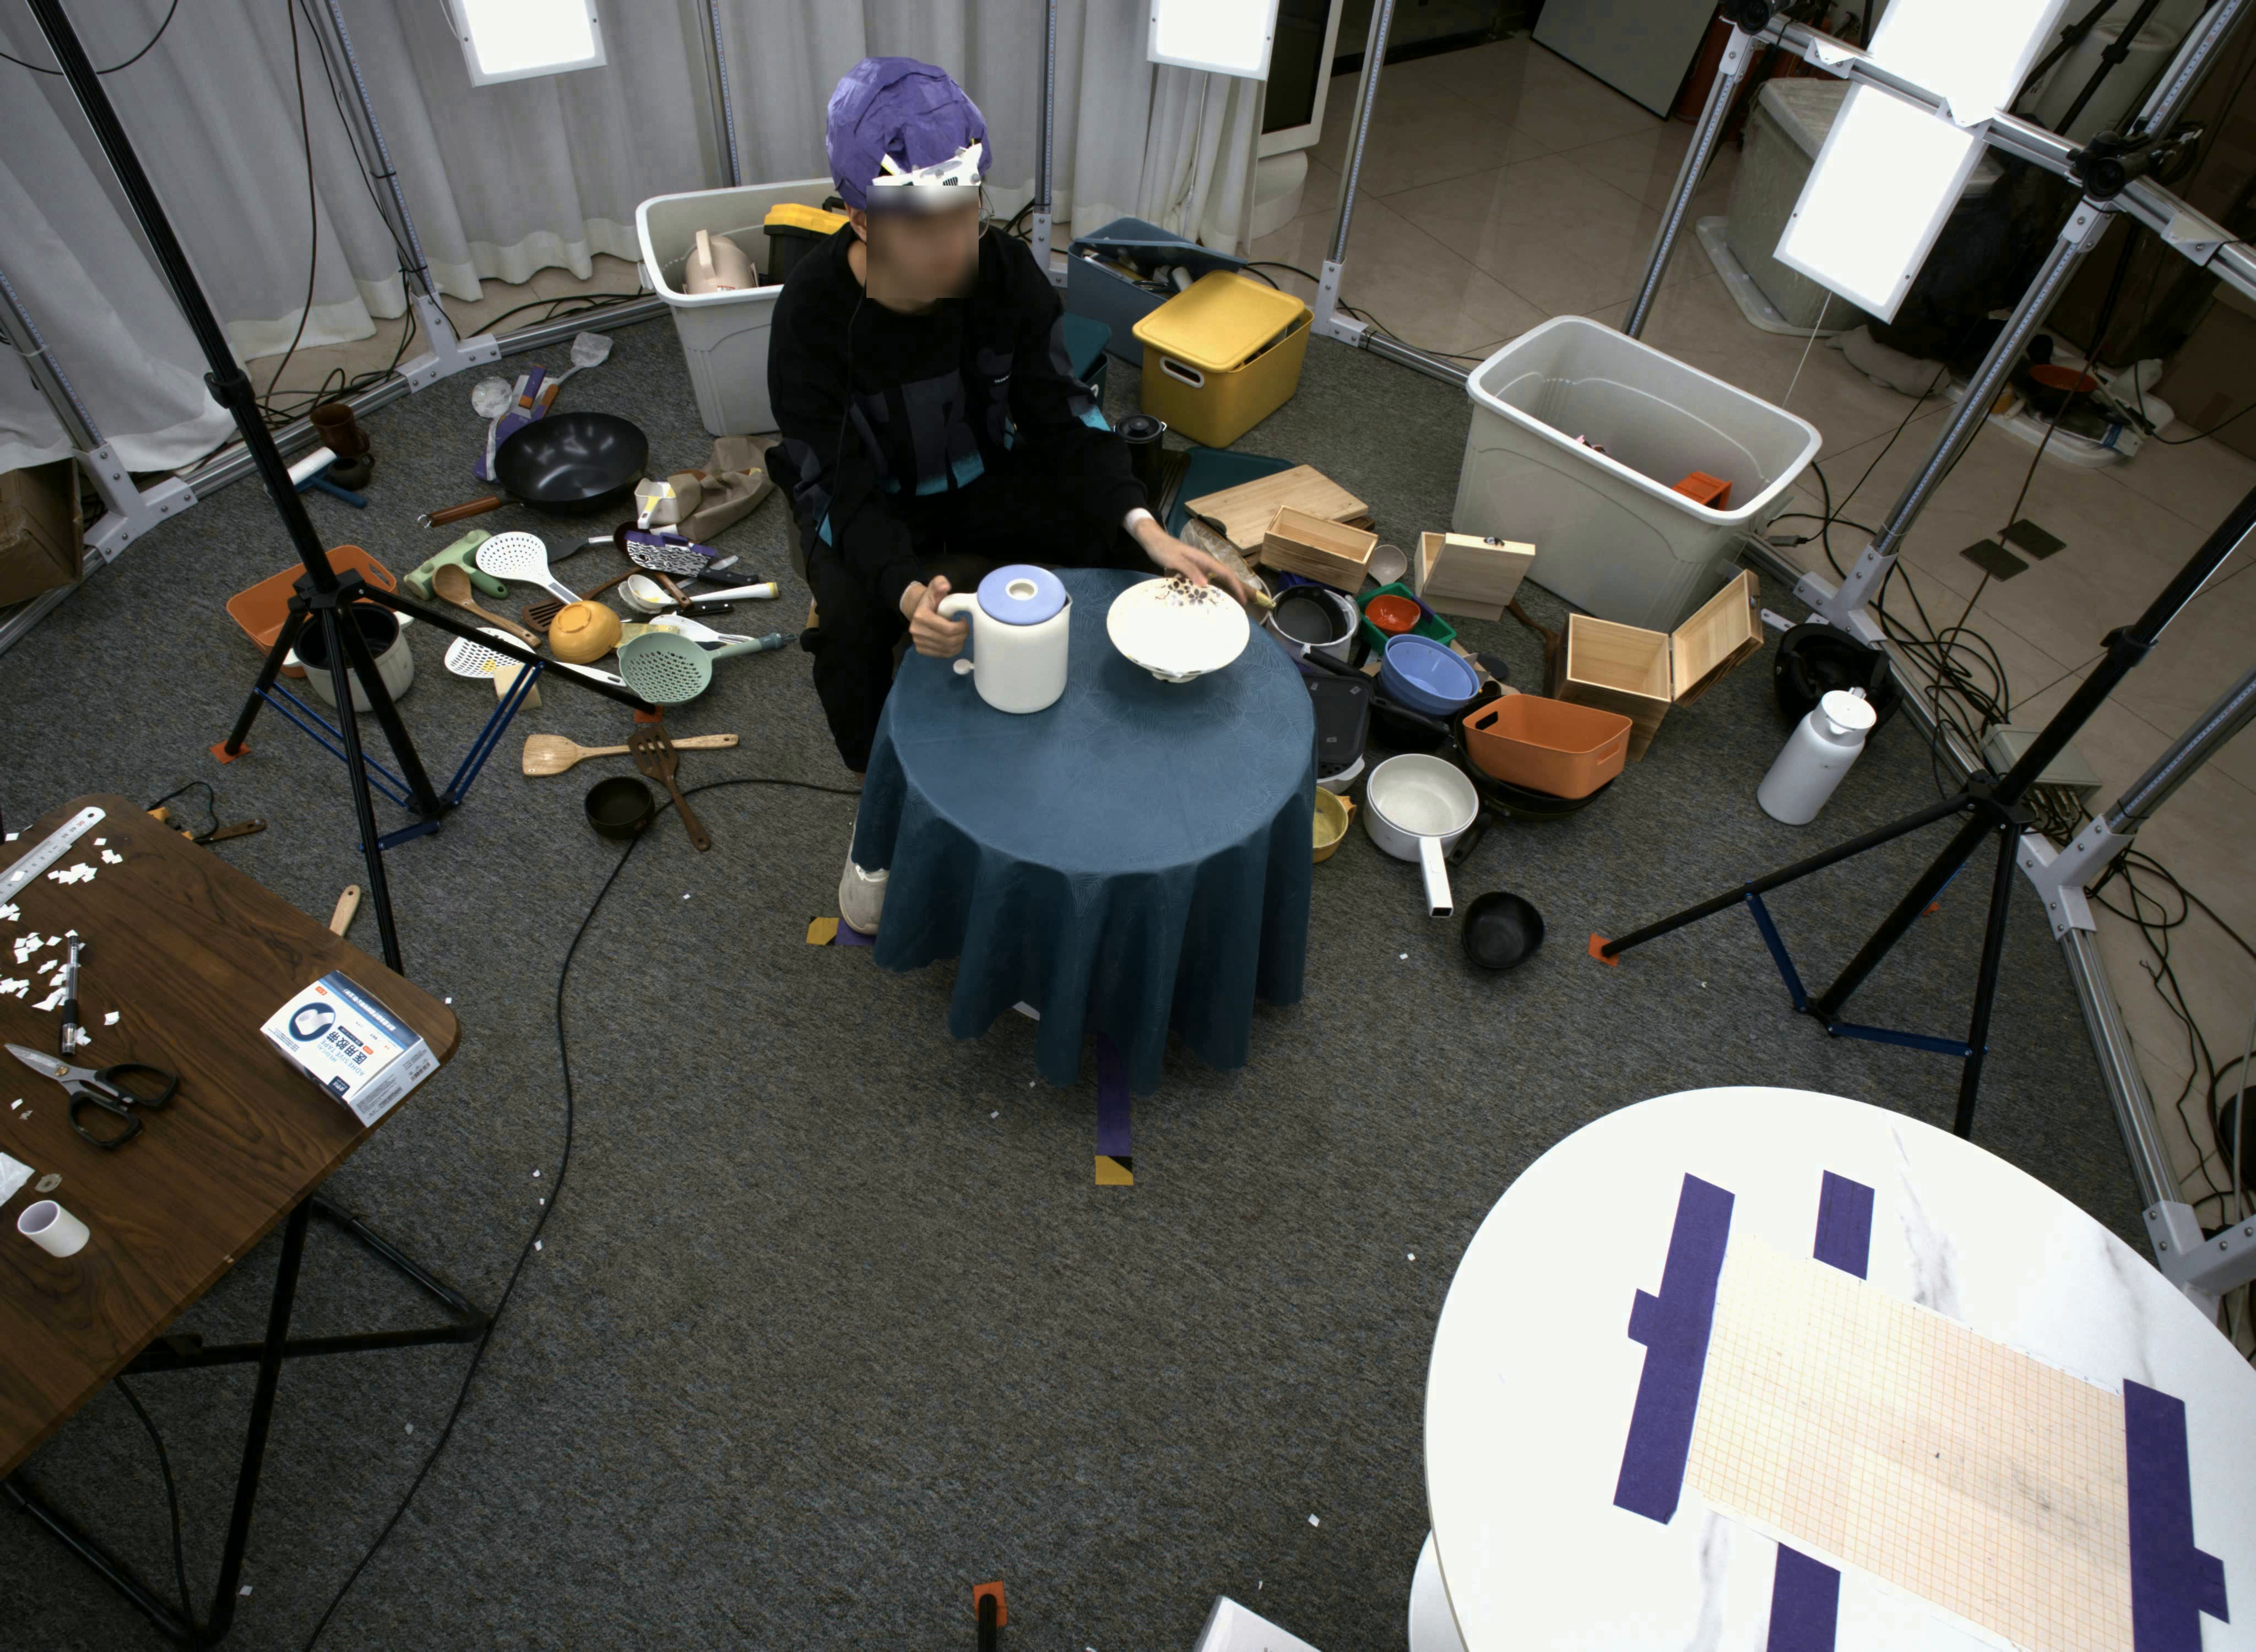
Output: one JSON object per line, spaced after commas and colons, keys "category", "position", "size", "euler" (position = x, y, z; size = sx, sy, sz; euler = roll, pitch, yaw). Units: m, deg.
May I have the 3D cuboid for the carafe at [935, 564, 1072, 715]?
{"category": "carafe", "position": [-0.171, -0.257, 1.771], "size": [0.191, 0.178, 0.135], "euler": [3, 48, 2]}

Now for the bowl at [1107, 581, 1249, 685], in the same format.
{"category": "bowl", "position": [0.070, -0.261, 1.850], "size": [0.204, 0.076, 0.209], "euler": [1, 46, -2]}
